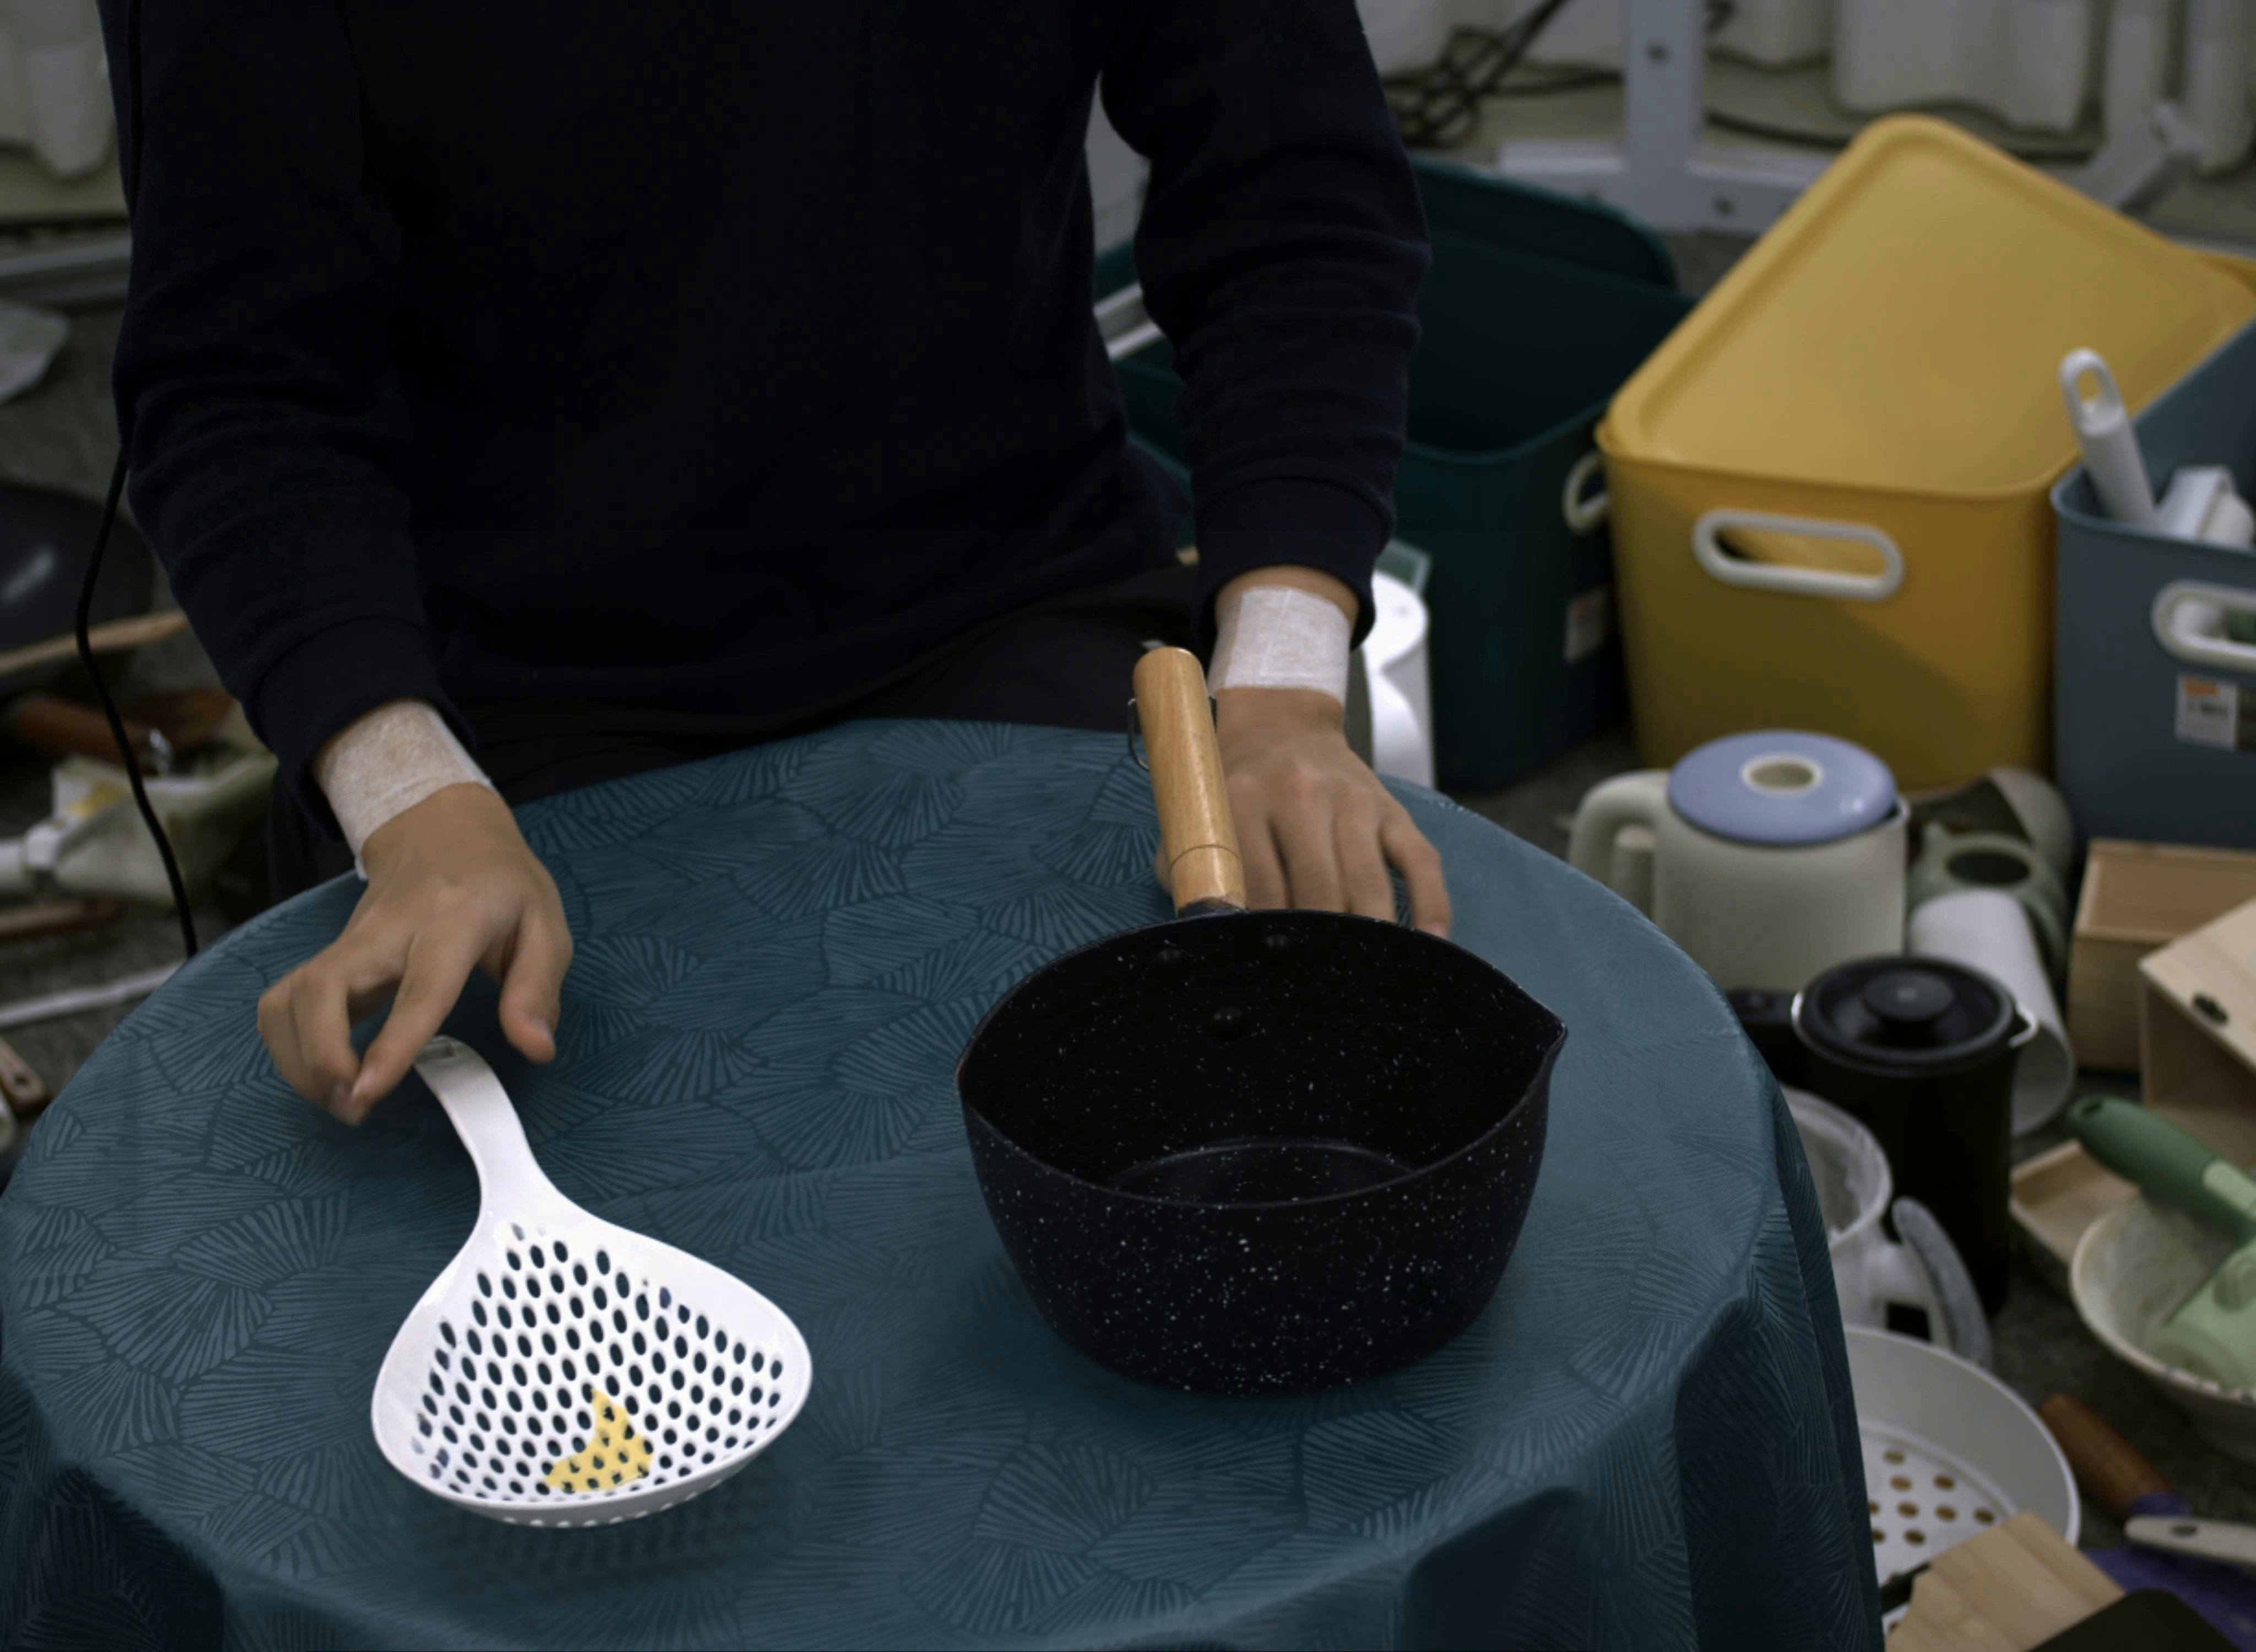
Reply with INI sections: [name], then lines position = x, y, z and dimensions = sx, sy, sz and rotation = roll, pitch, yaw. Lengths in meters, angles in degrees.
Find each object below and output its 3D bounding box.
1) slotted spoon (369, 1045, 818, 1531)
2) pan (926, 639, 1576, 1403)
[slotted spoon]
position = -0.196, 0.136, 1.808
dimensions = 0.137, 0.050, 0.351
rotation = -13, 31, -14
[pan]
position = 0.032, 0.061, 1.861
dimensions = 0.207, 0.107, 0.347
rotation = -7, 29, -5
